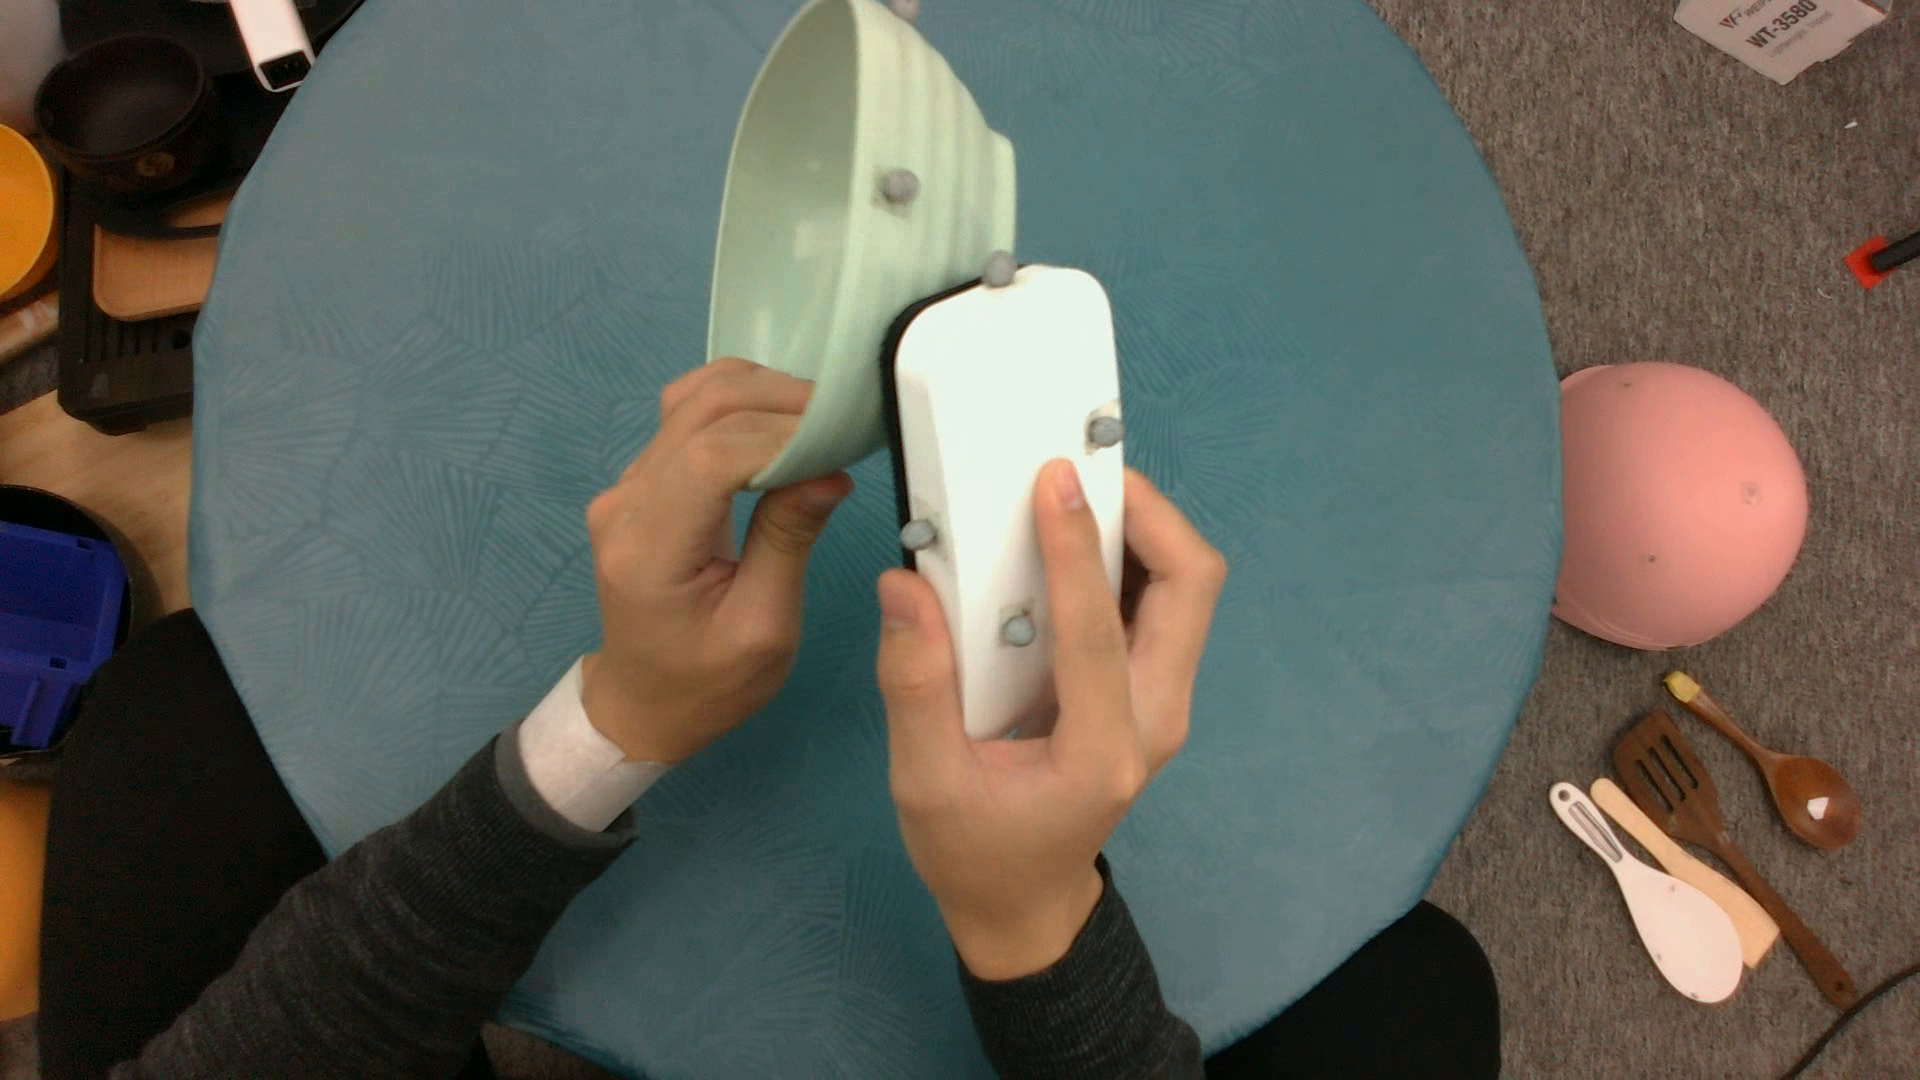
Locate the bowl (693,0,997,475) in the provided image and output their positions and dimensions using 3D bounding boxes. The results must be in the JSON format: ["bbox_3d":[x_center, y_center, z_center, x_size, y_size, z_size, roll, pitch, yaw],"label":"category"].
[{"bbox_3d":[-0.033,-0.085,0.412,0.059,0.151,0.151,8,78,-23],"label":"bowl"}]

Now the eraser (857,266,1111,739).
[{"bbox_3d":[0.009,-0.008,0.380,0.063,0.034,0.131,-27,124,-31],"label":"eraser"}]
